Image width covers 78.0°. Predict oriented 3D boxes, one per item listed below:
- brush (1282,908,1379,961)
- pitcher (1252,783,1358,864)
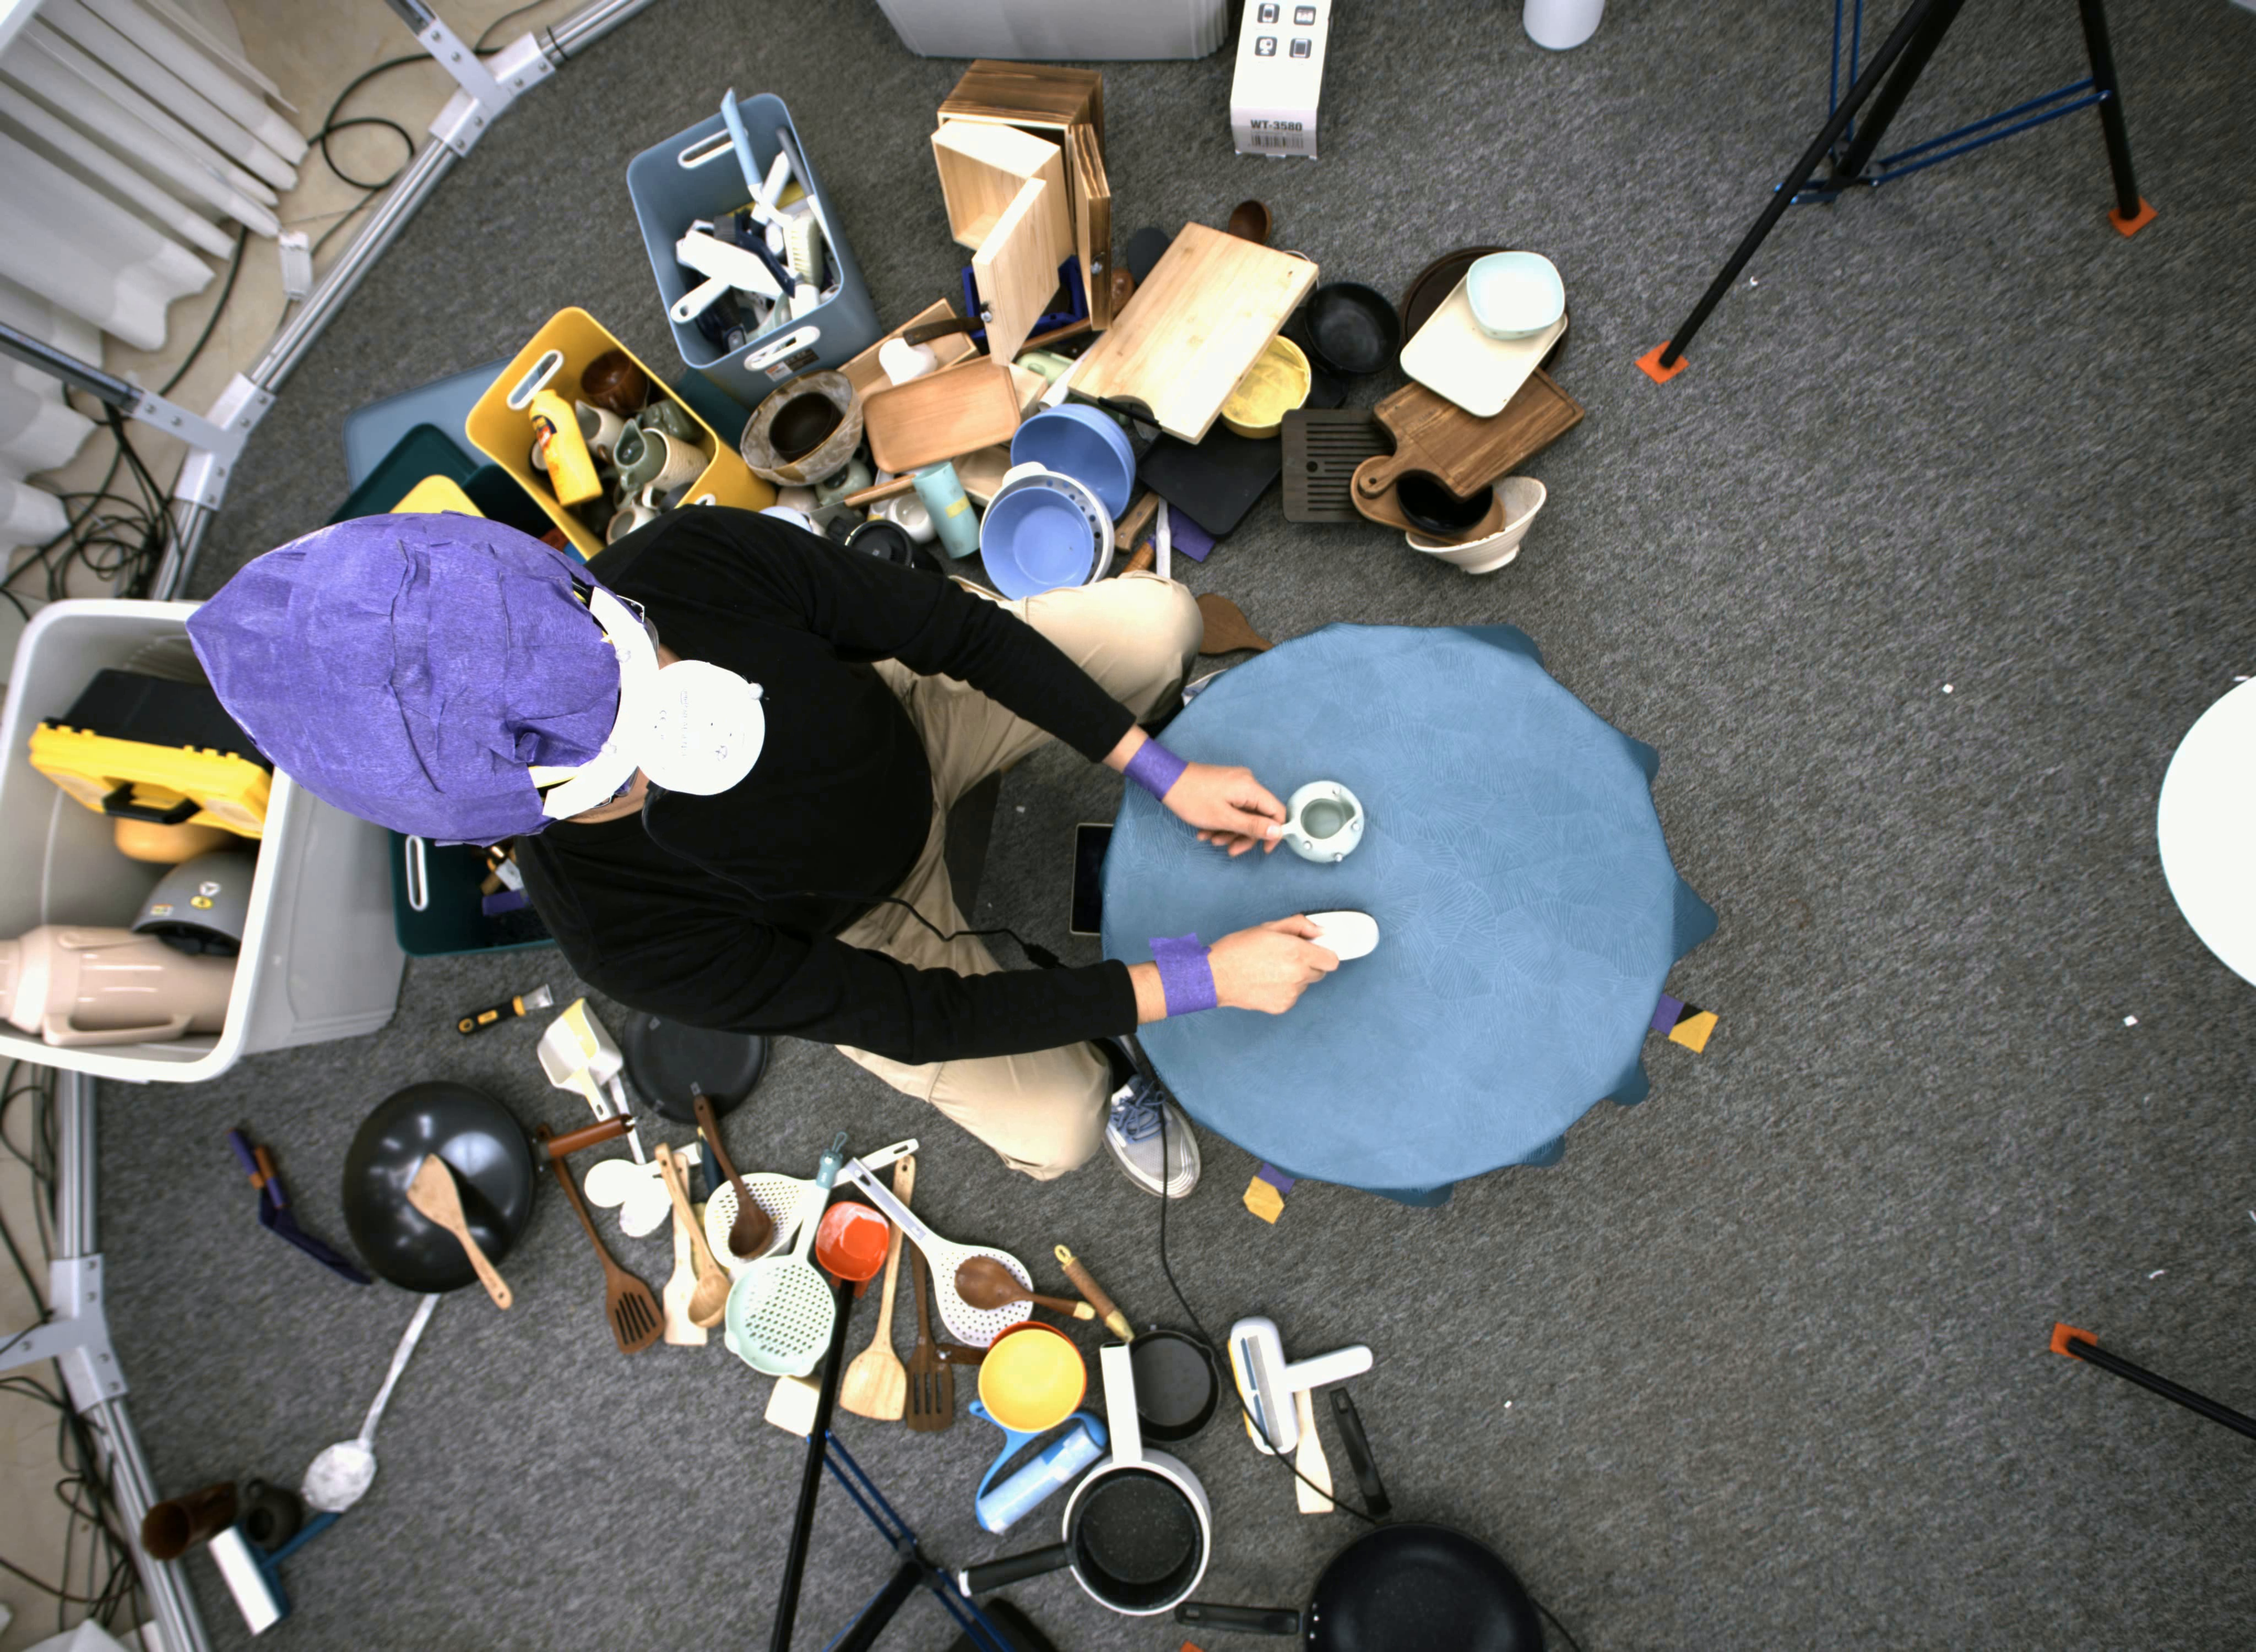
[{"bbox_3d":[0.207,0.113,1.412,0.099,0.072,0.050,-2,96,7],"label":"brush"},{"bbox_3d":[0.182,-0.002,1.447,0.108,0.060,0.086,-1,97,-7],"label":"pitcher"}]
